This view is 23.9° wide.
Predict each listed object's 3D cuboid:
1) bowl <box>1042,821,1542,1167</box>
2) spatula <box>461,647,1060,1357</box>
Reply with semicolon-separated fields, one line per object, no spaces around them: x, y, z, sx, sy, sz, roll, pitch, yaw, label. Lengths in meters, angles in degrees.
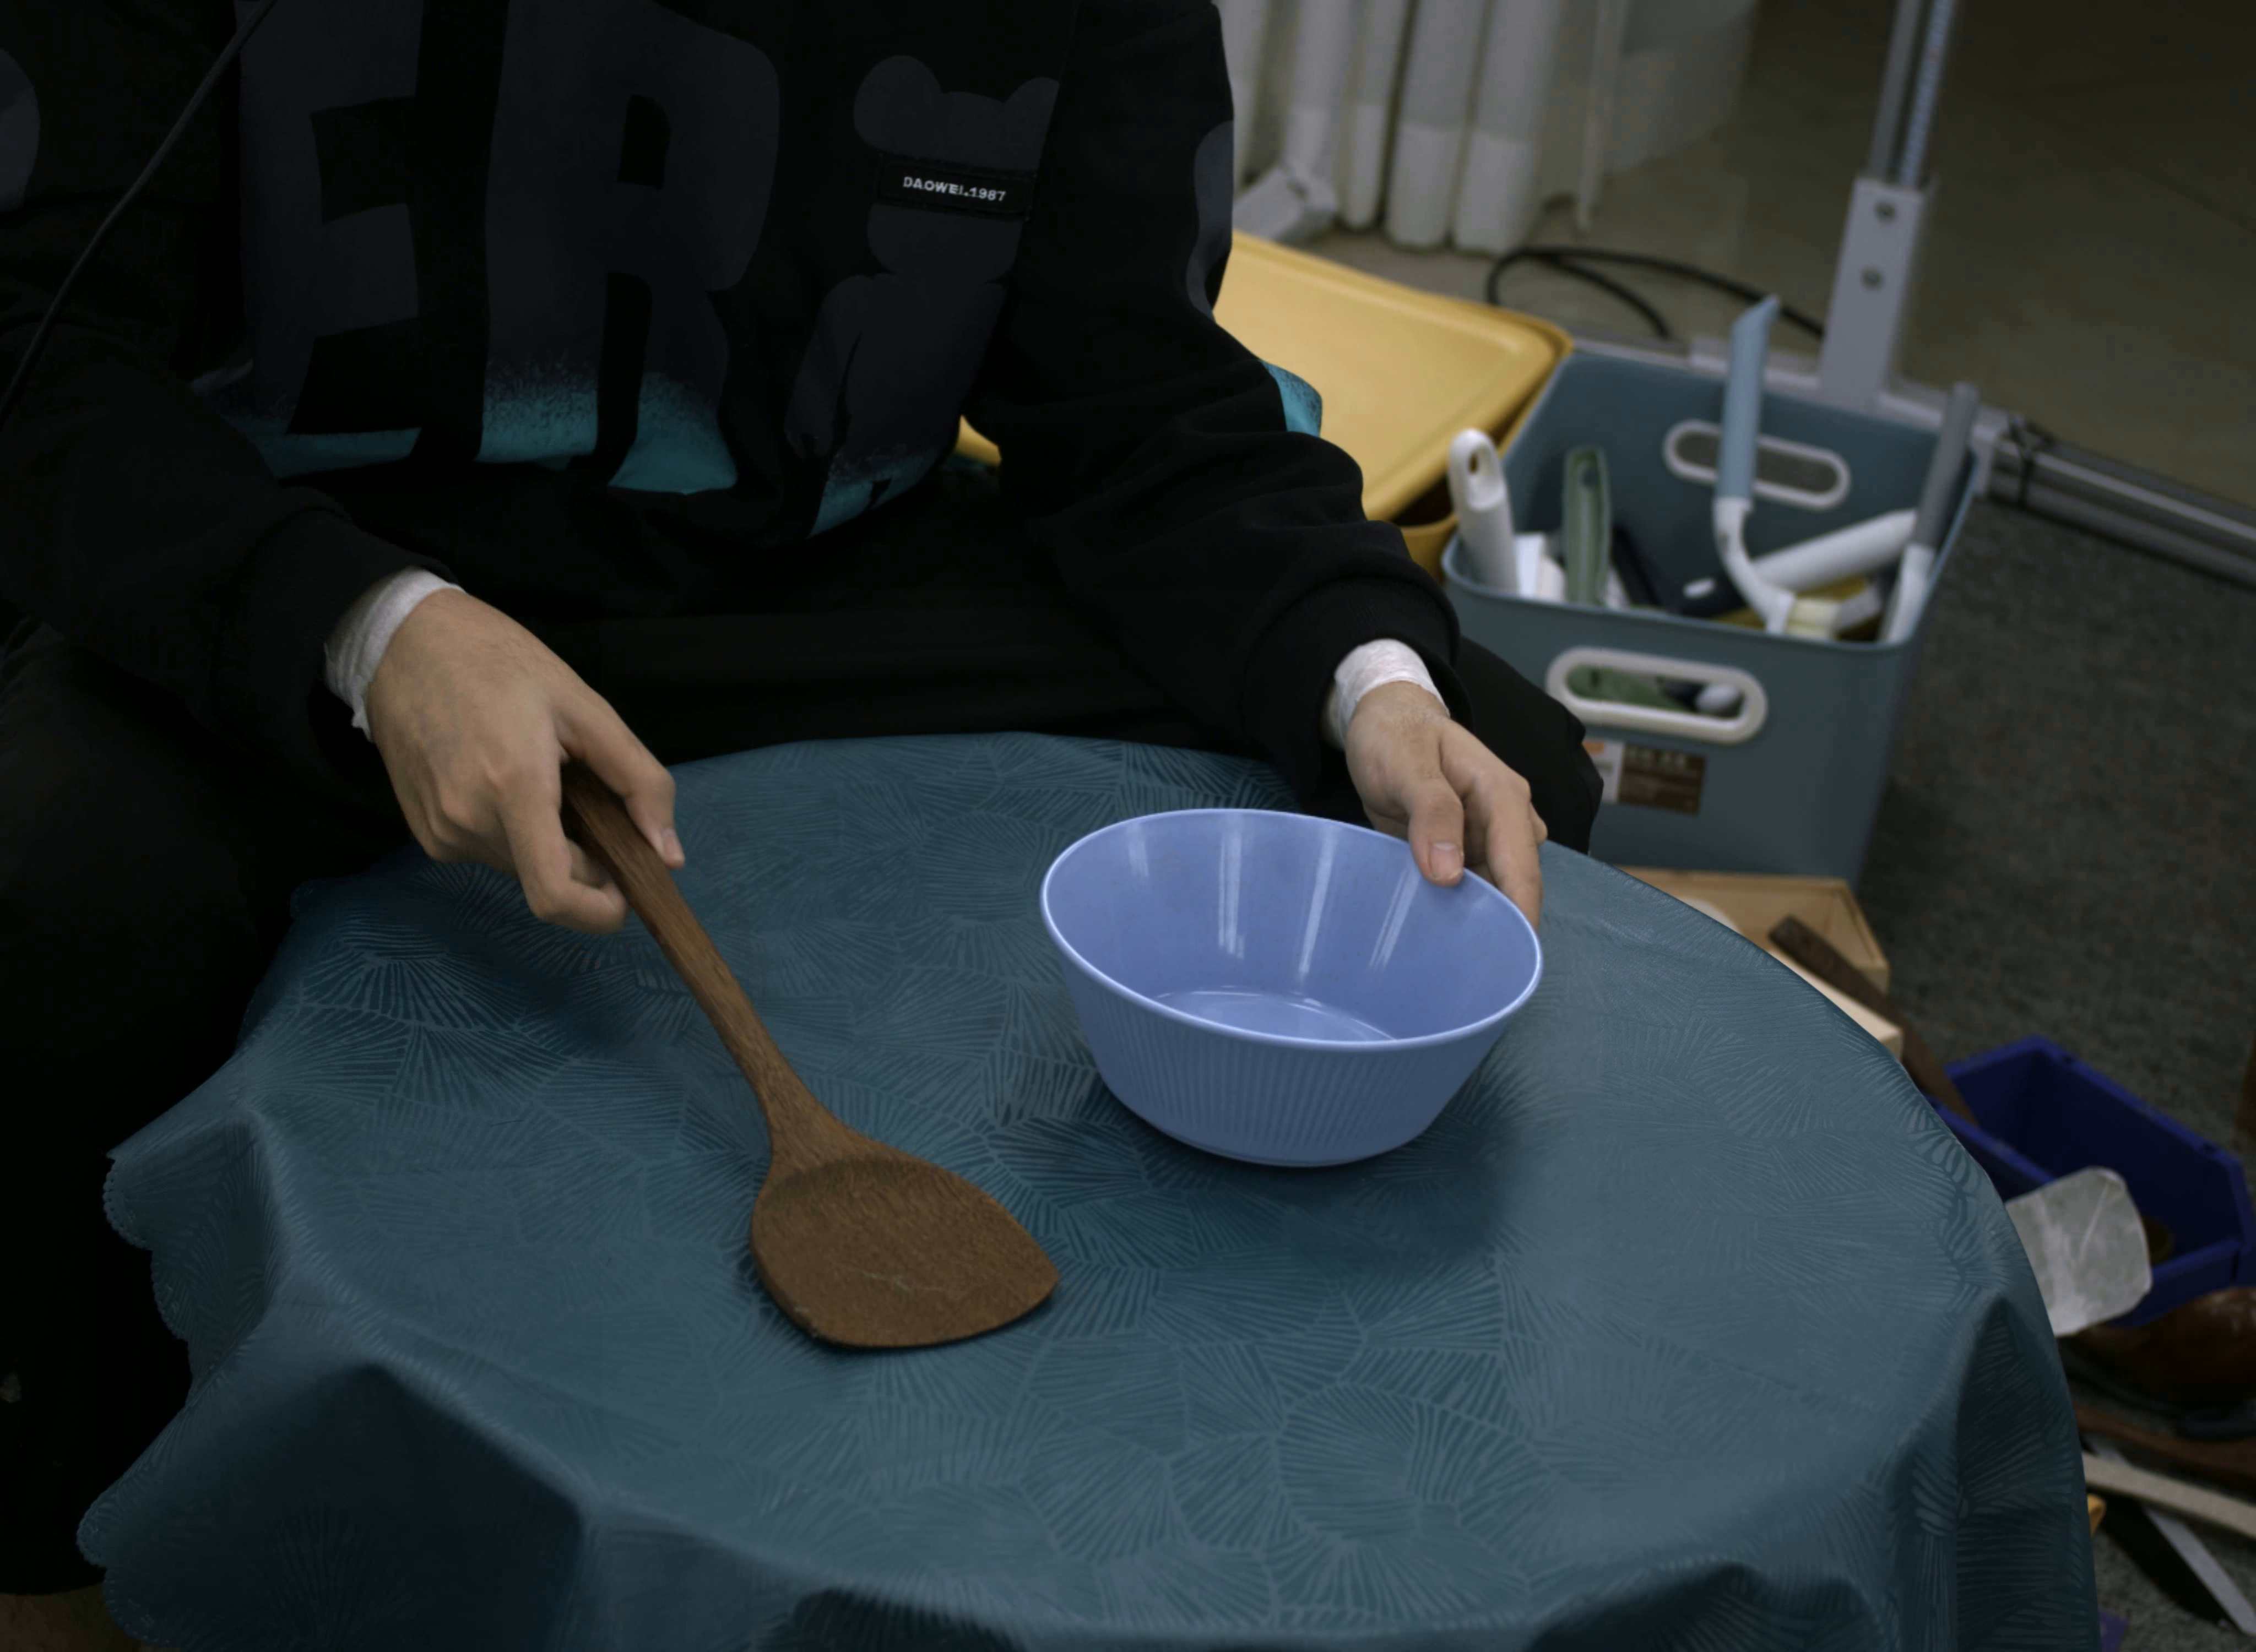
0.053;0.063;1.851;0.175;0.070;0.177;6;24;-3;bowl
-0.146;0.051;1.829;0.095;0.016;0.390;-11;43;-28;spatula
